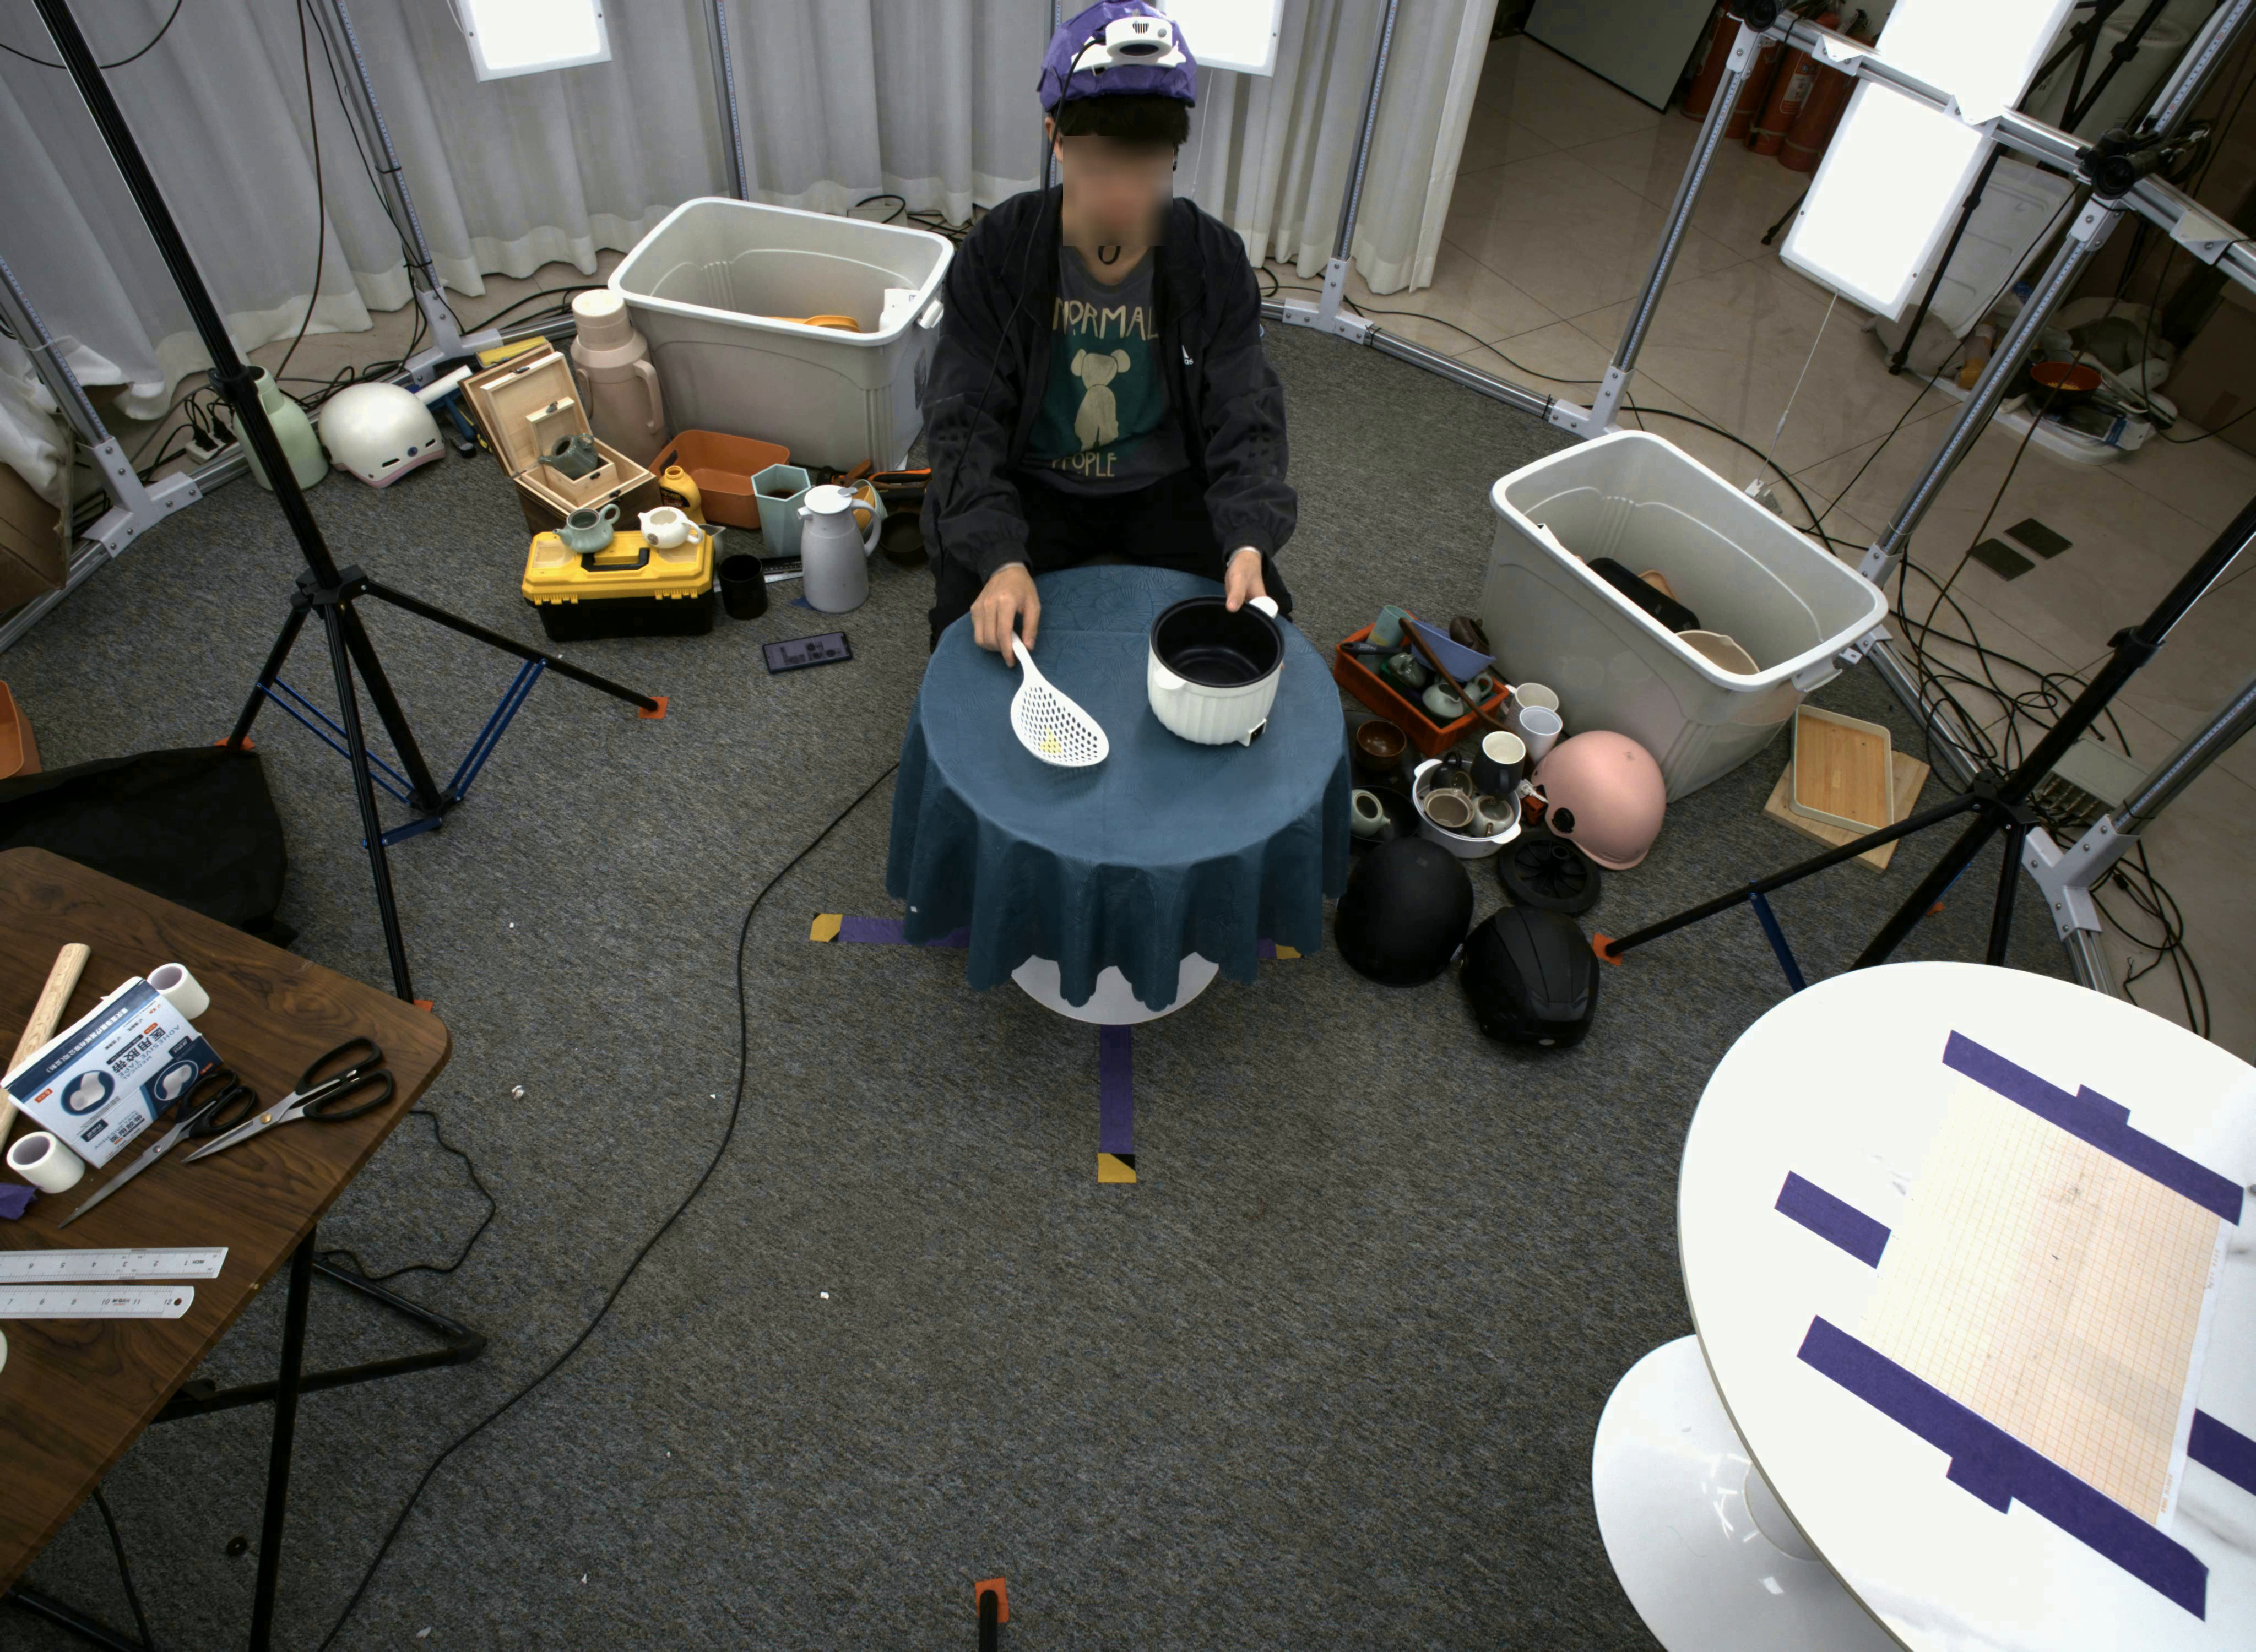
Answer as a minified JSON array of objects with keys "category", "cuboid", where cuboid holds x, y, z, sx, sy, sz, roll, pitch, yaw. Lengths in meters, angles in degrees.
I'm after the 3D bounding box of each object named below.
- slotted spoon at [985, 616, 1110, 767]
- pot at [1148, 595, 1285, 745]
[{"category":"slotted spoon","cuboid":[-0.134,-0.197,1.796,0.136,0.049,0.356,-2,48,-27]},{"category":"pot","cuboid":[0.111,-0.210,1.767,0.193,0.139,0.243,37,55,22]}]
